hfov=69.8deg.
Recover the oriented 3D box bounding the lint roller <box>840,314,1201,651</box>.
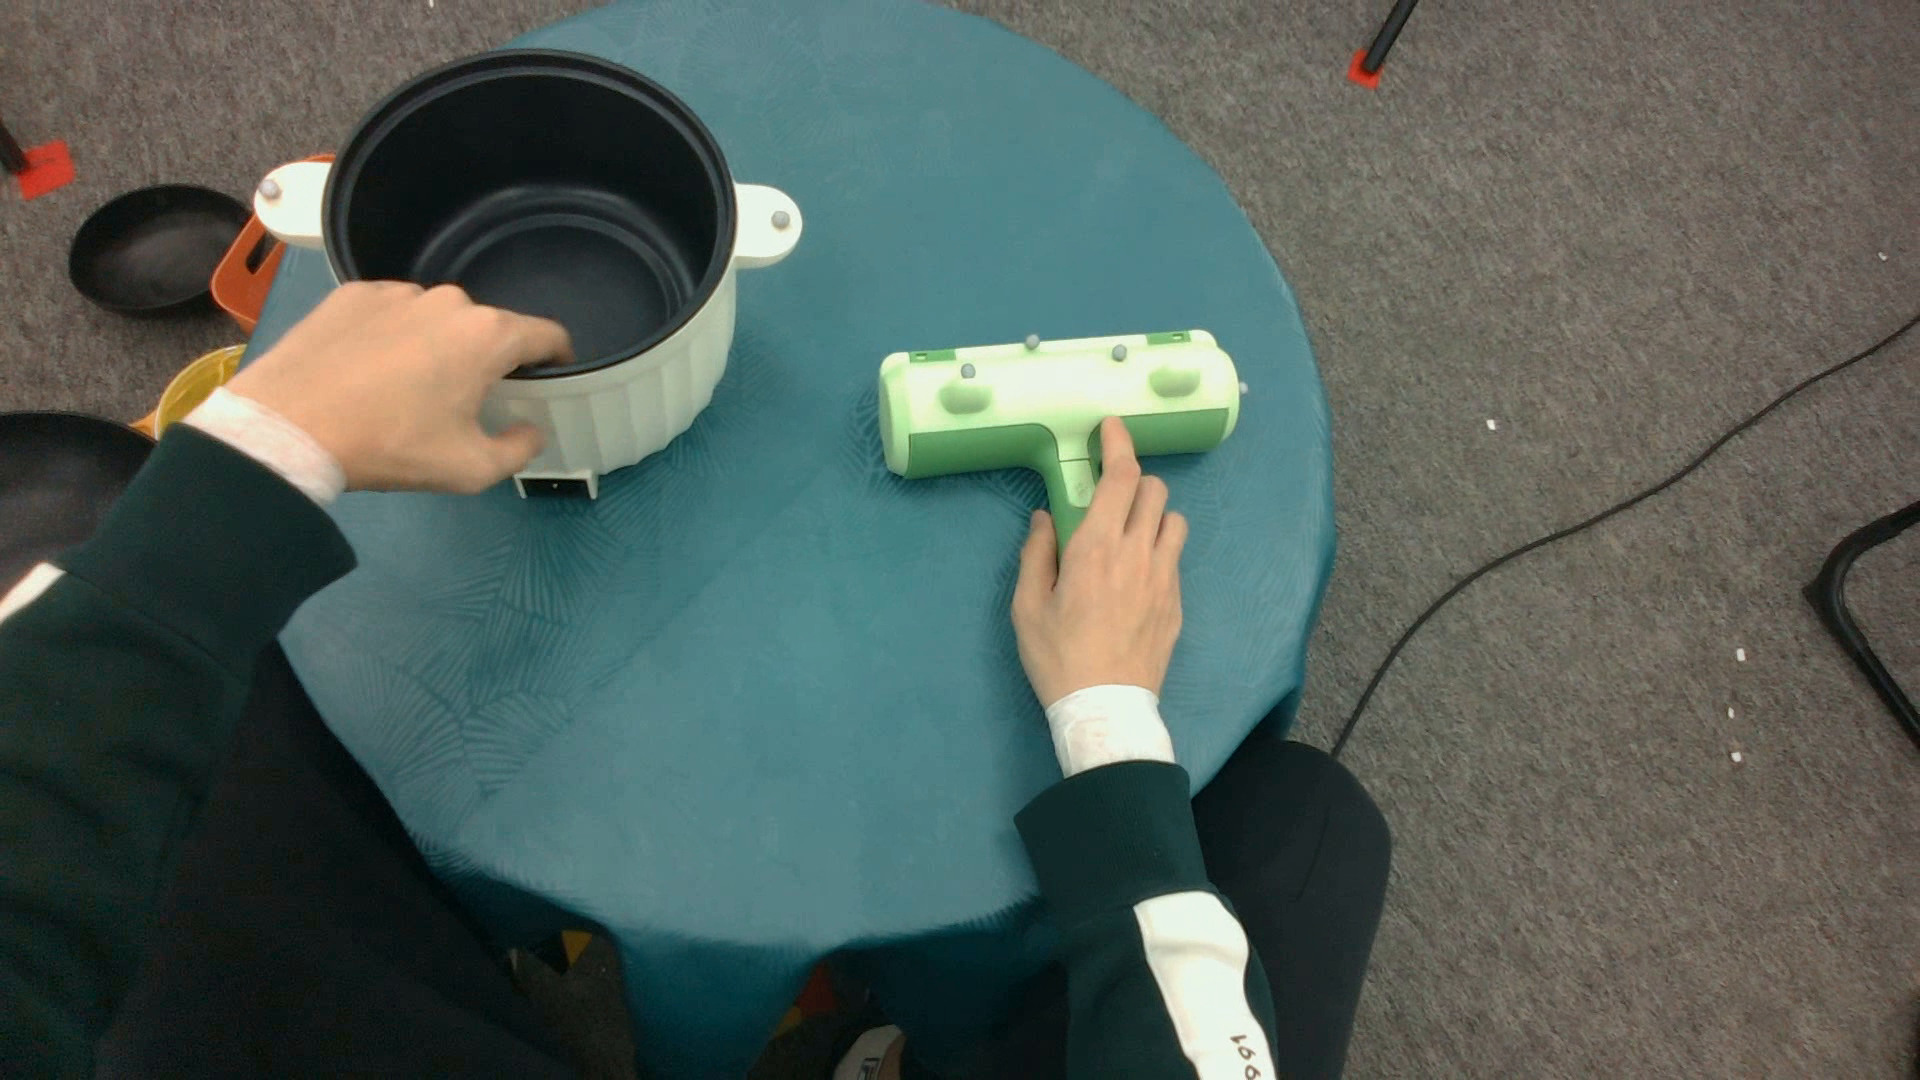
[{"bbox_3d":[0.046,-0.038,0.726,0.199,0.082,0.184,-7,62,-13],"label":"lint roller"}]

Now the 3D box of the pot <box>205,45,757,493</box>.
[{"bbox_3d":[-0.225,-0.134,0.686,0.240,0.142,0.191,-1,70,-12],"label":"pot"}]
